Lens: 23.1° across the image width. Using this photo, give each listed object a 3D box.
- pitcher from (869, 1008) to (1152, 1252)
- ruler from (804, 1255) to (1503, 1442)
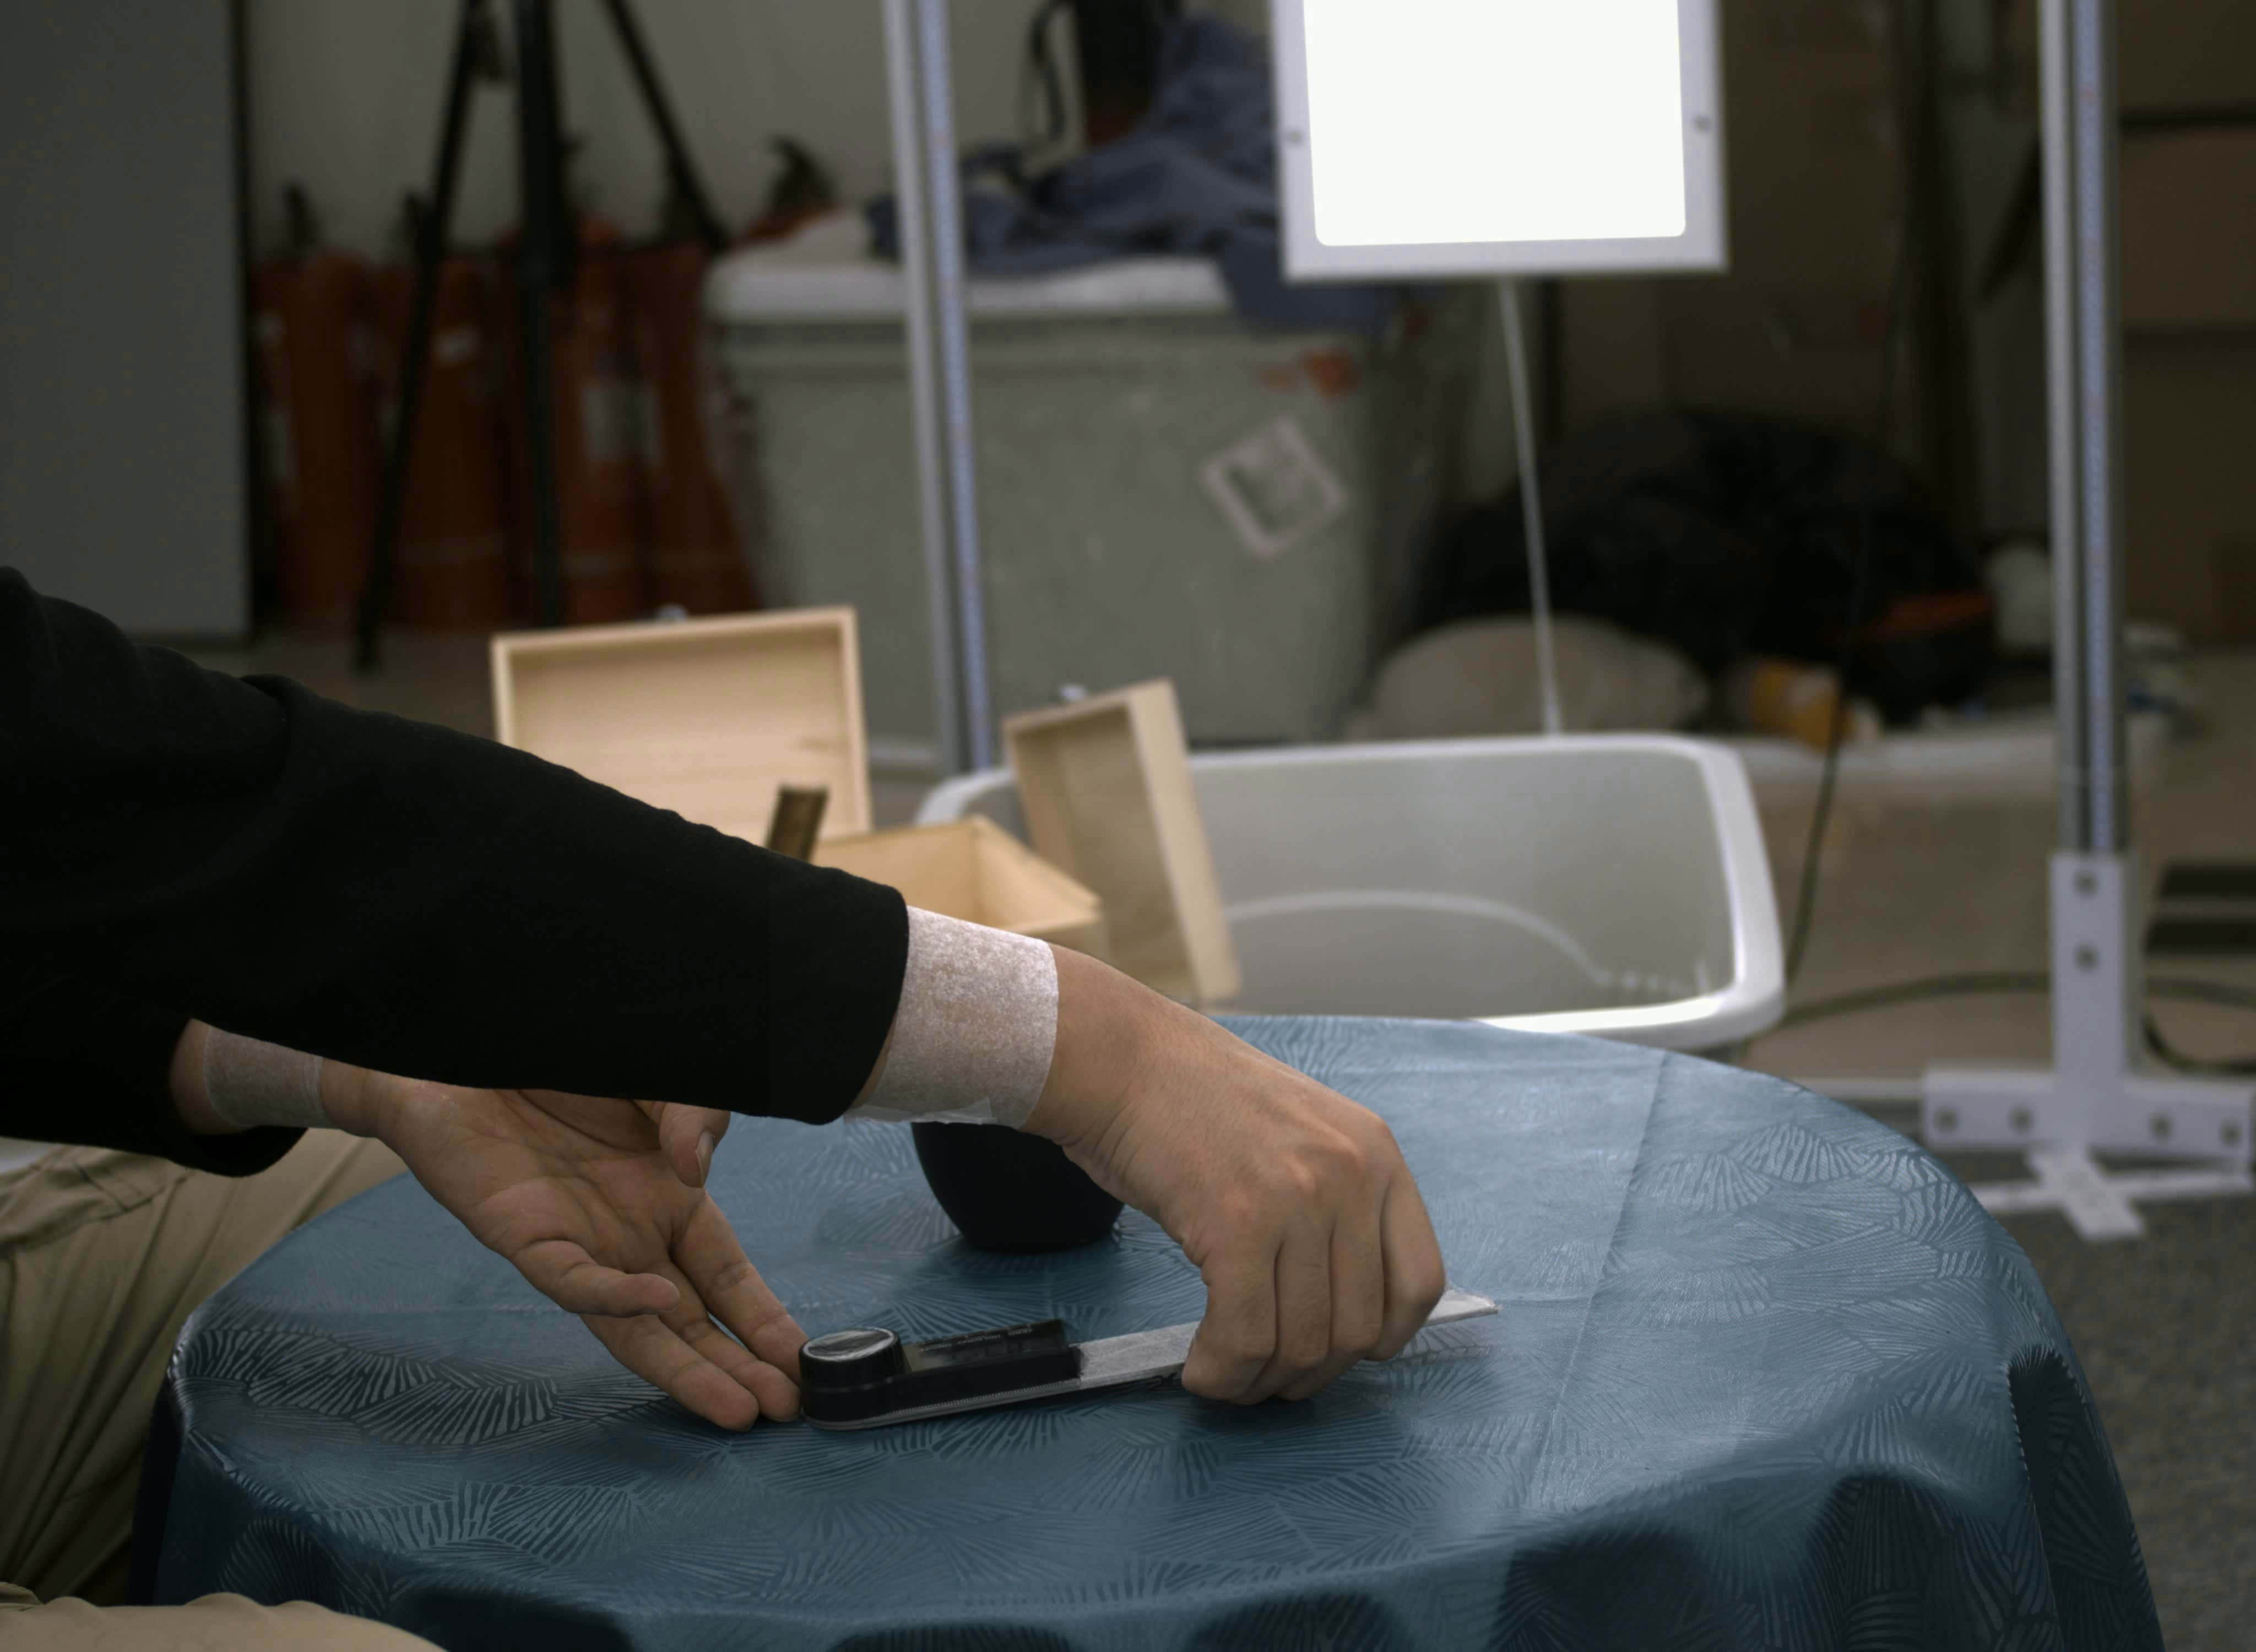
[{"bbox_3d":[-0.038,0.102,1.858,0.096,0.071,0.083,-1,15,11],"label":"pitcher"},{"bbox_3d":[0.007,0.155,1.708,0.217,0.024,0.038,-11,22,-4],"label":"ruler"}]
